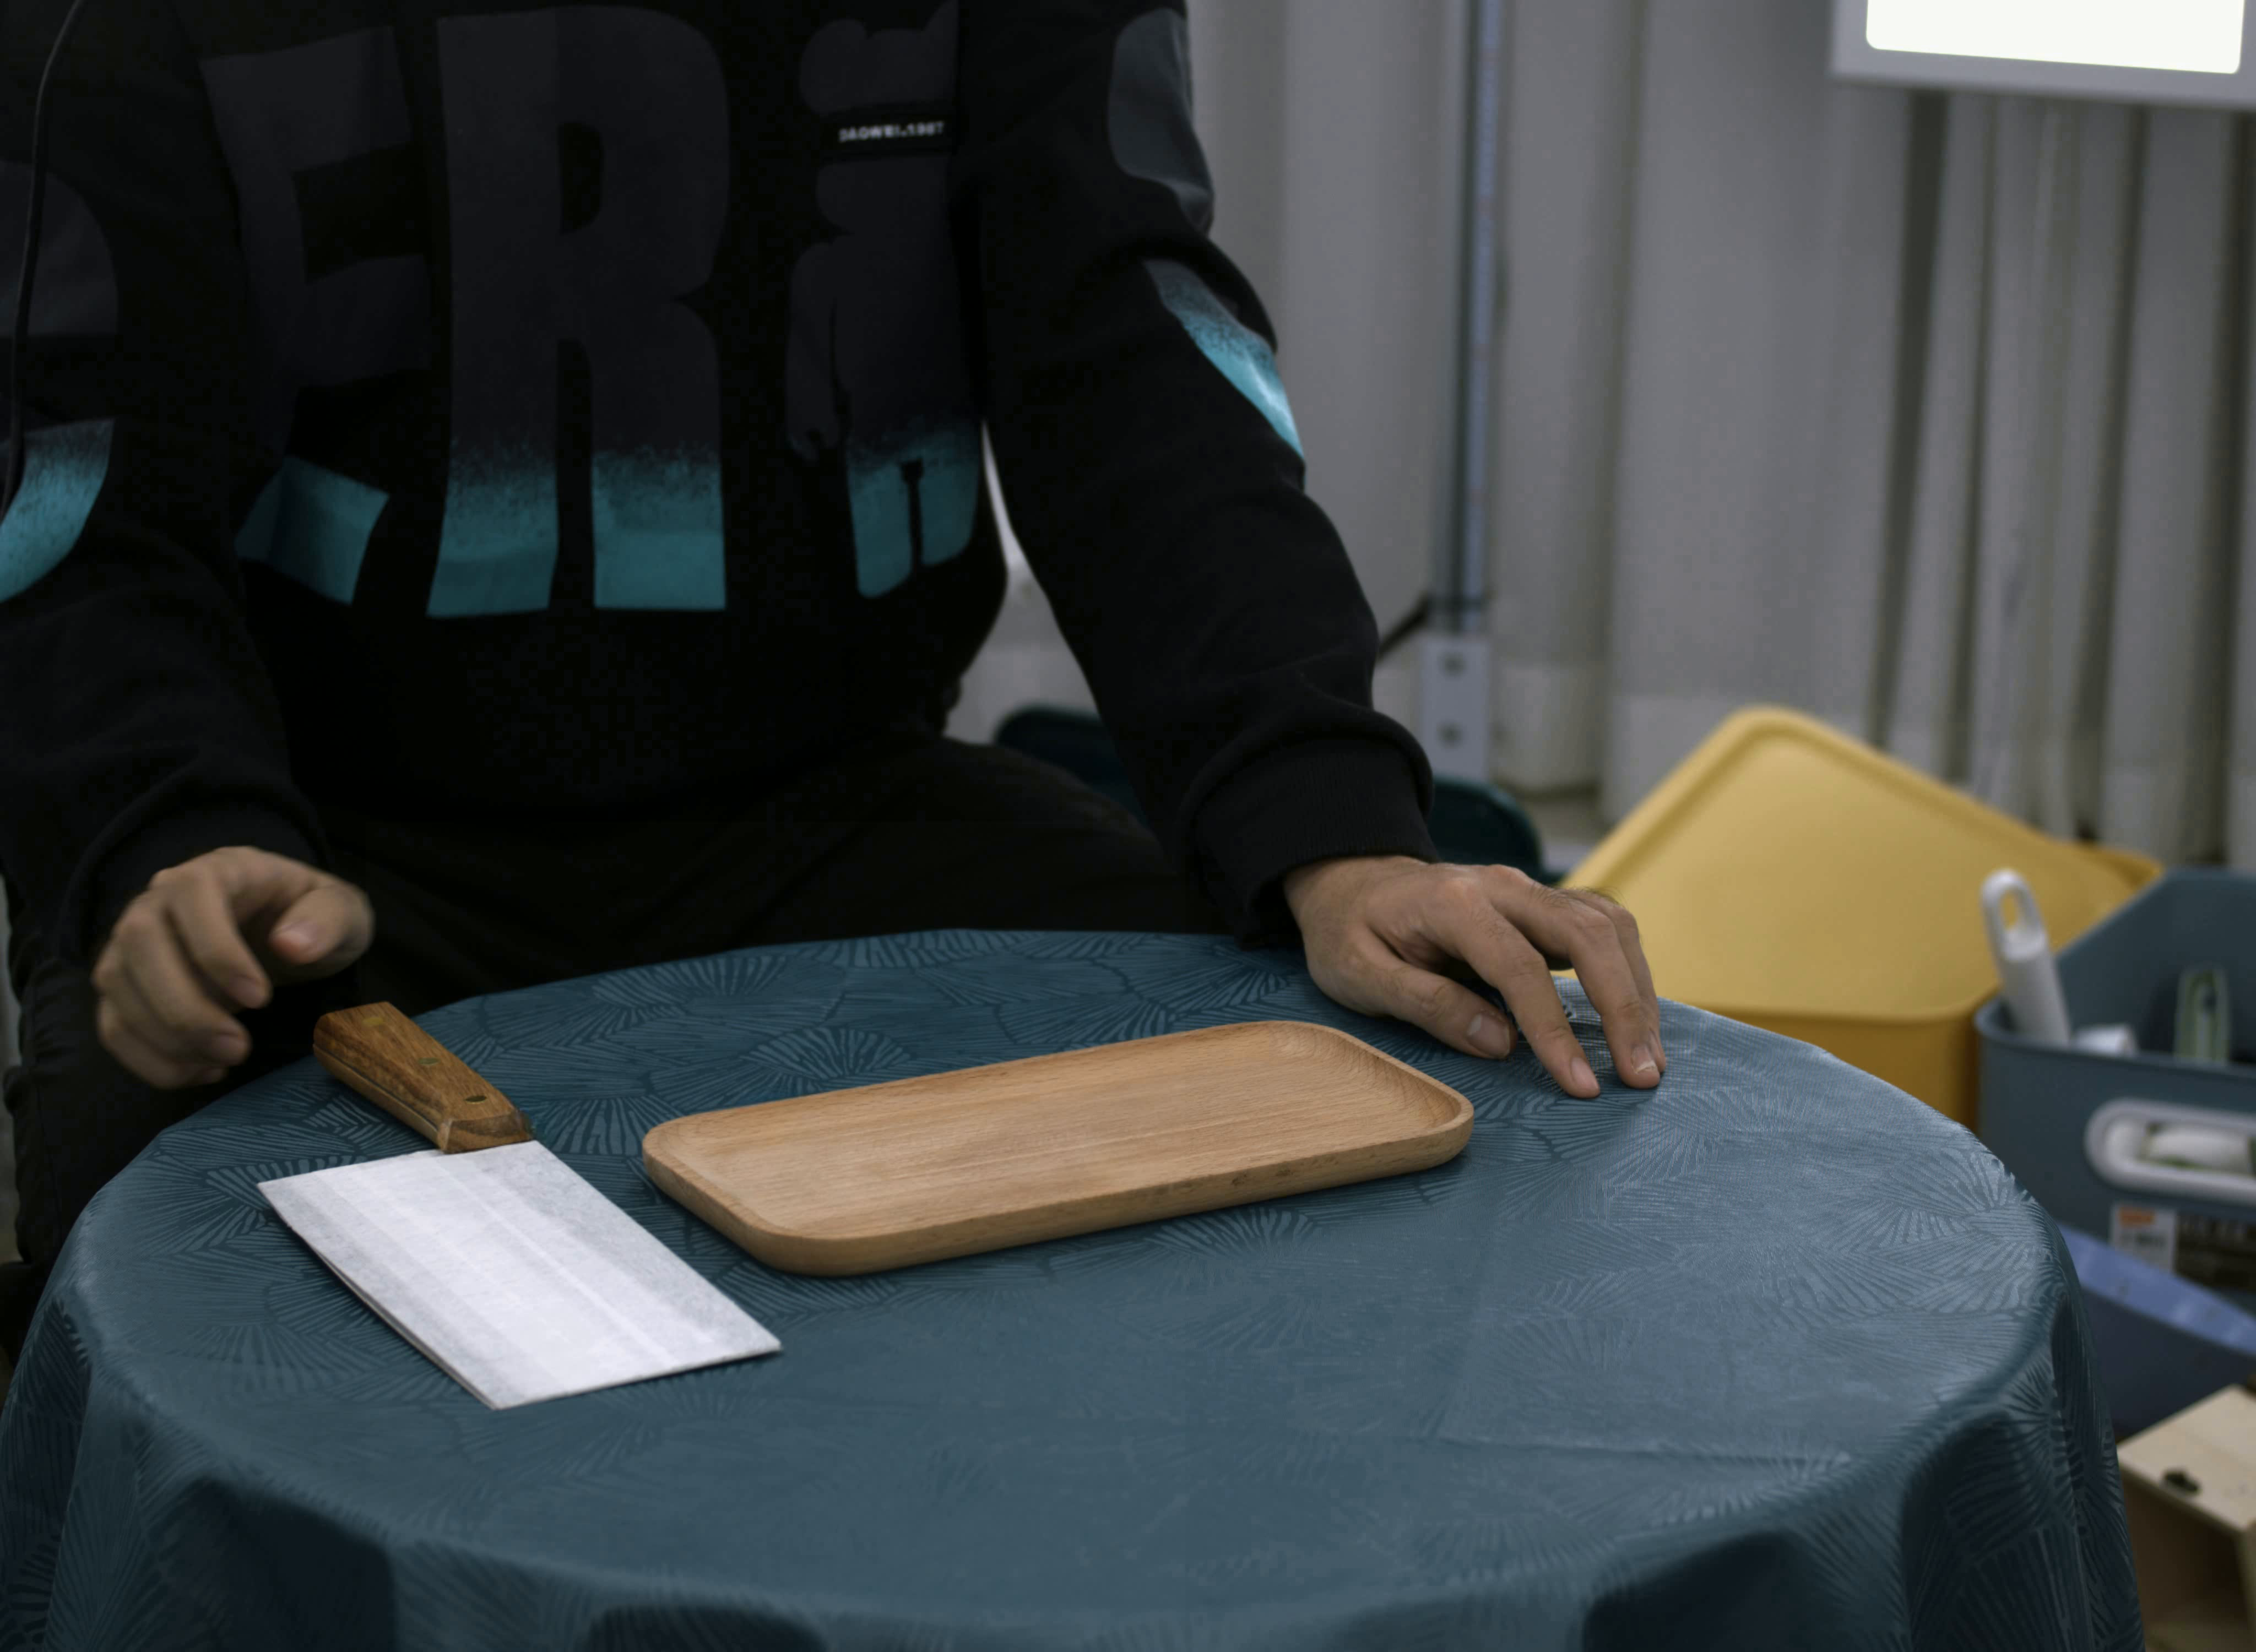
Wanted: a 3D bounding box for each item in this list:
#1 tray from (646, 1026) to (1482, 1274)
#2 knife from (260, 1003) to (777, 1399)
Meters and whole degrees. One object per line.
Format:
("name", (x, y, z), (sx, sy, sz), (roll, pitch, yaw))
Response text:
("tray", (-0.019, 0.099, 1.640), (0.252, 0.023, 0.129), (-7, 19, -27))
("knife", (-0.207, 0.112, 1.589), (0.093, 0.021, 0.302), (-9, 21, -27))
